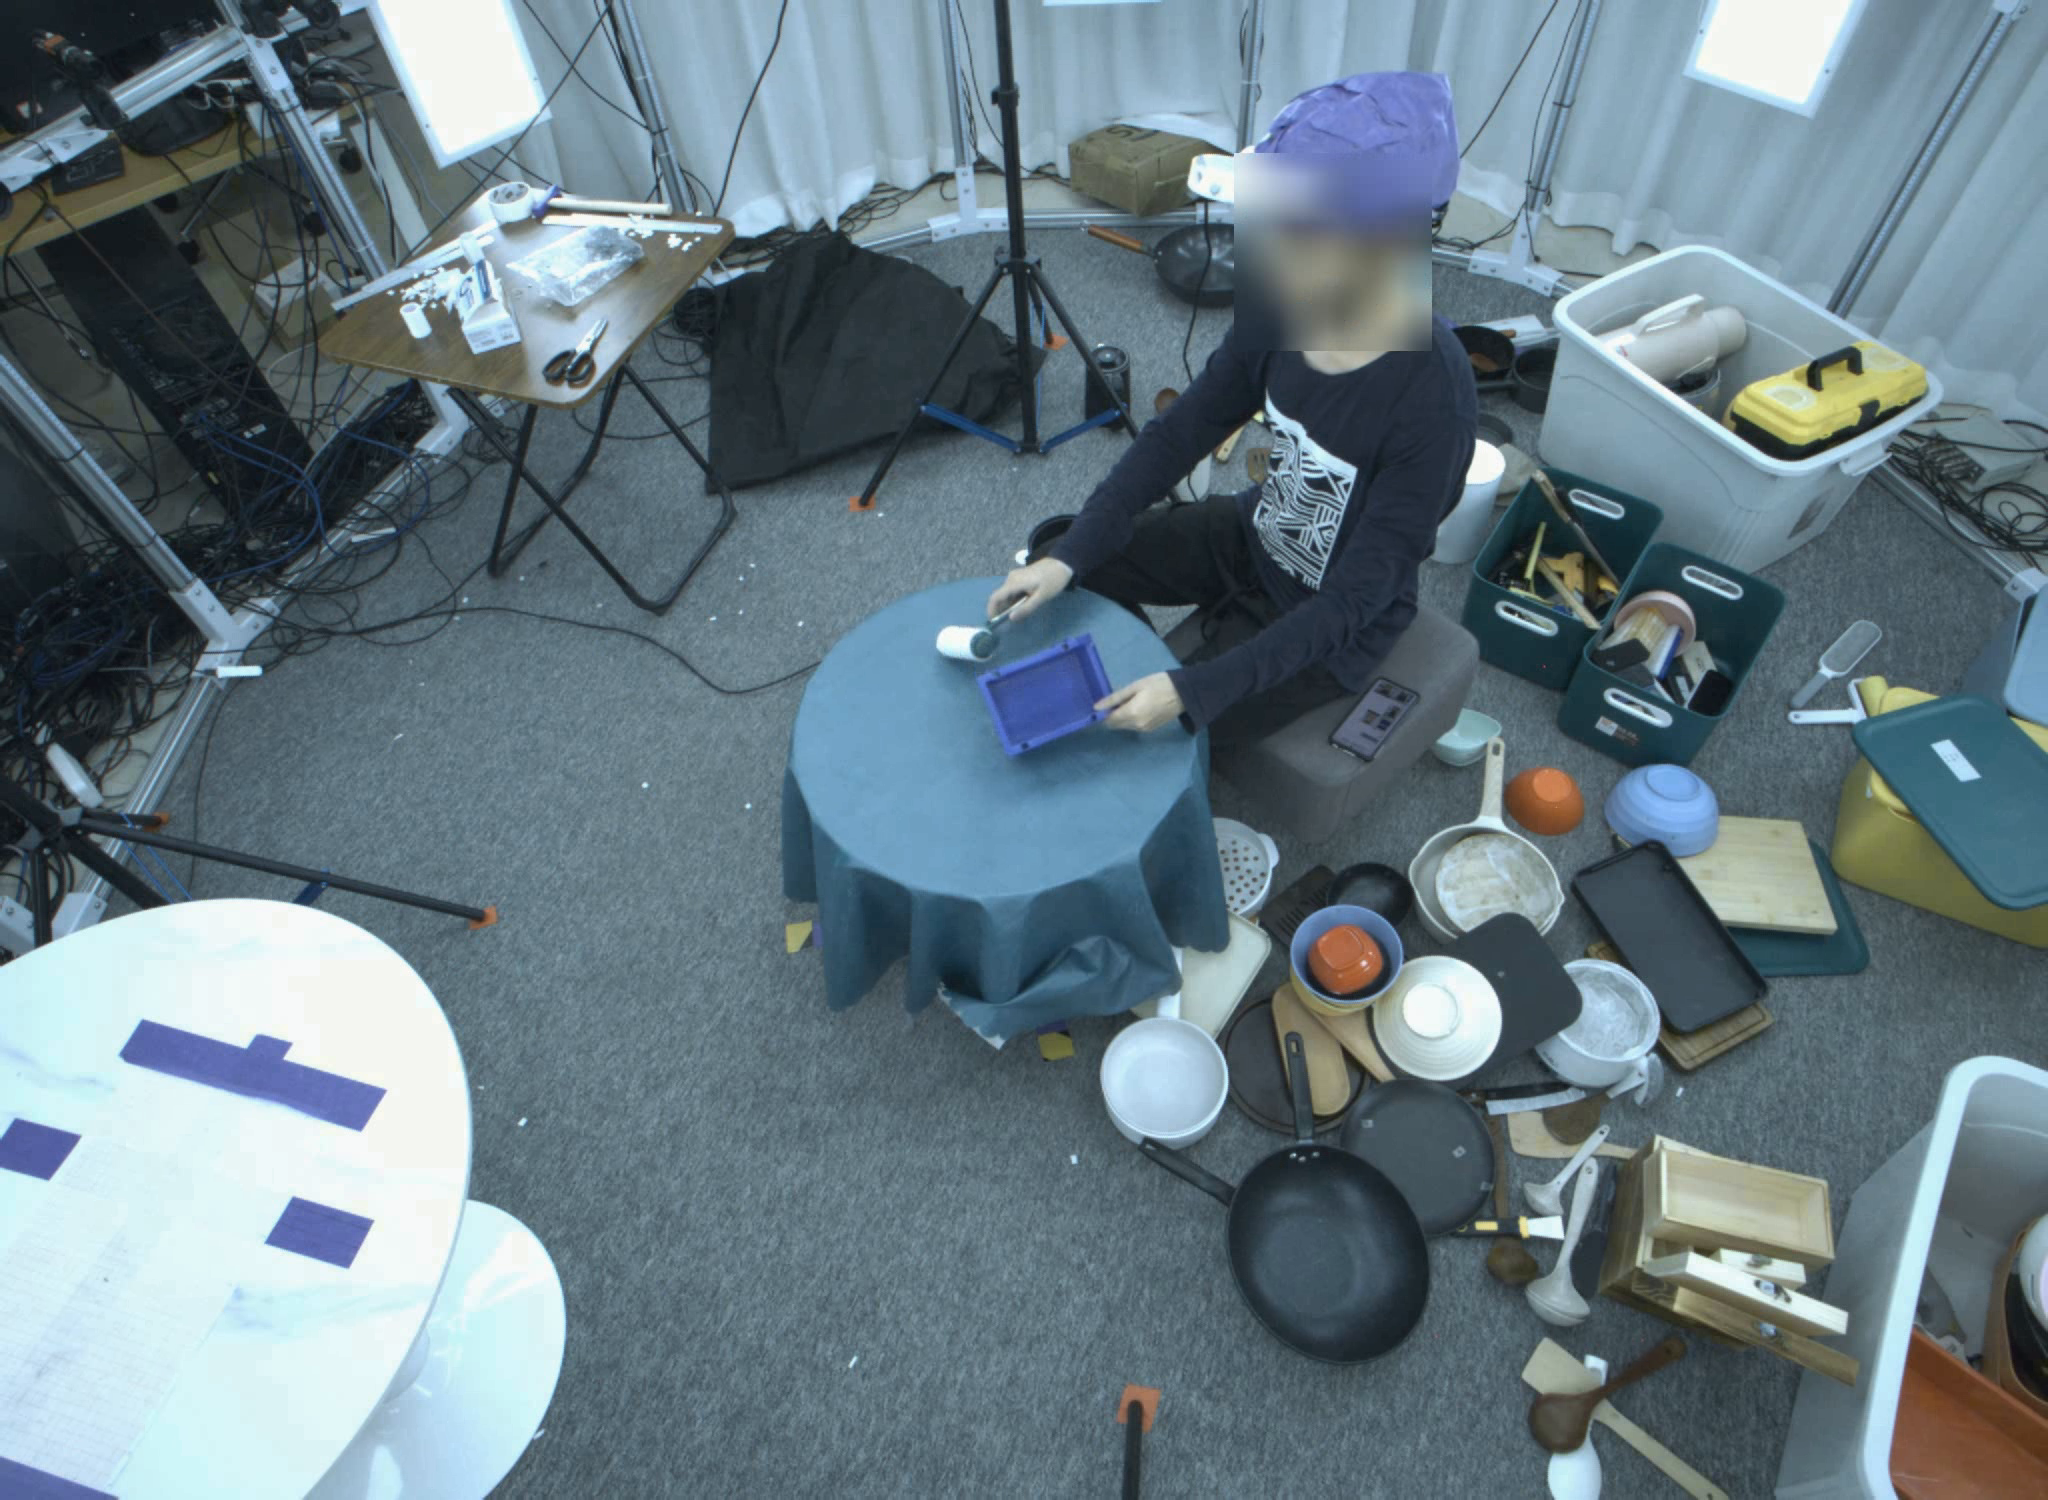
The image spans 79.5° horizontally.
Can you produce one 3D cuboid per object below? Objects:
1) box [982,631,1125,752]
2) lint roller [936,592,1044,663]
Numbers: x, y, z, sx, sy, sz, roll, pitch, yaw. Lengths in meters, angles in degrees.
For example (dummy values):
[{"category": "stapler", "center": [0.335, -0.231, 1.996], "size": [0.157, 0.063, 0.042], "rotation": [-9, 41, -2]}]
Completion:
[{"category": "box", "center": [0.043, -0.087, 1.756], "size": [0.179, 0.081, 0.125], "rotation": [-20, 94, -2]}, {"category": "lint roller", "center": [-0.043, -0.203, 1.875], "size": [0.181, 0.049, 0.131], "rotation": [-44, 31, -20]}]
